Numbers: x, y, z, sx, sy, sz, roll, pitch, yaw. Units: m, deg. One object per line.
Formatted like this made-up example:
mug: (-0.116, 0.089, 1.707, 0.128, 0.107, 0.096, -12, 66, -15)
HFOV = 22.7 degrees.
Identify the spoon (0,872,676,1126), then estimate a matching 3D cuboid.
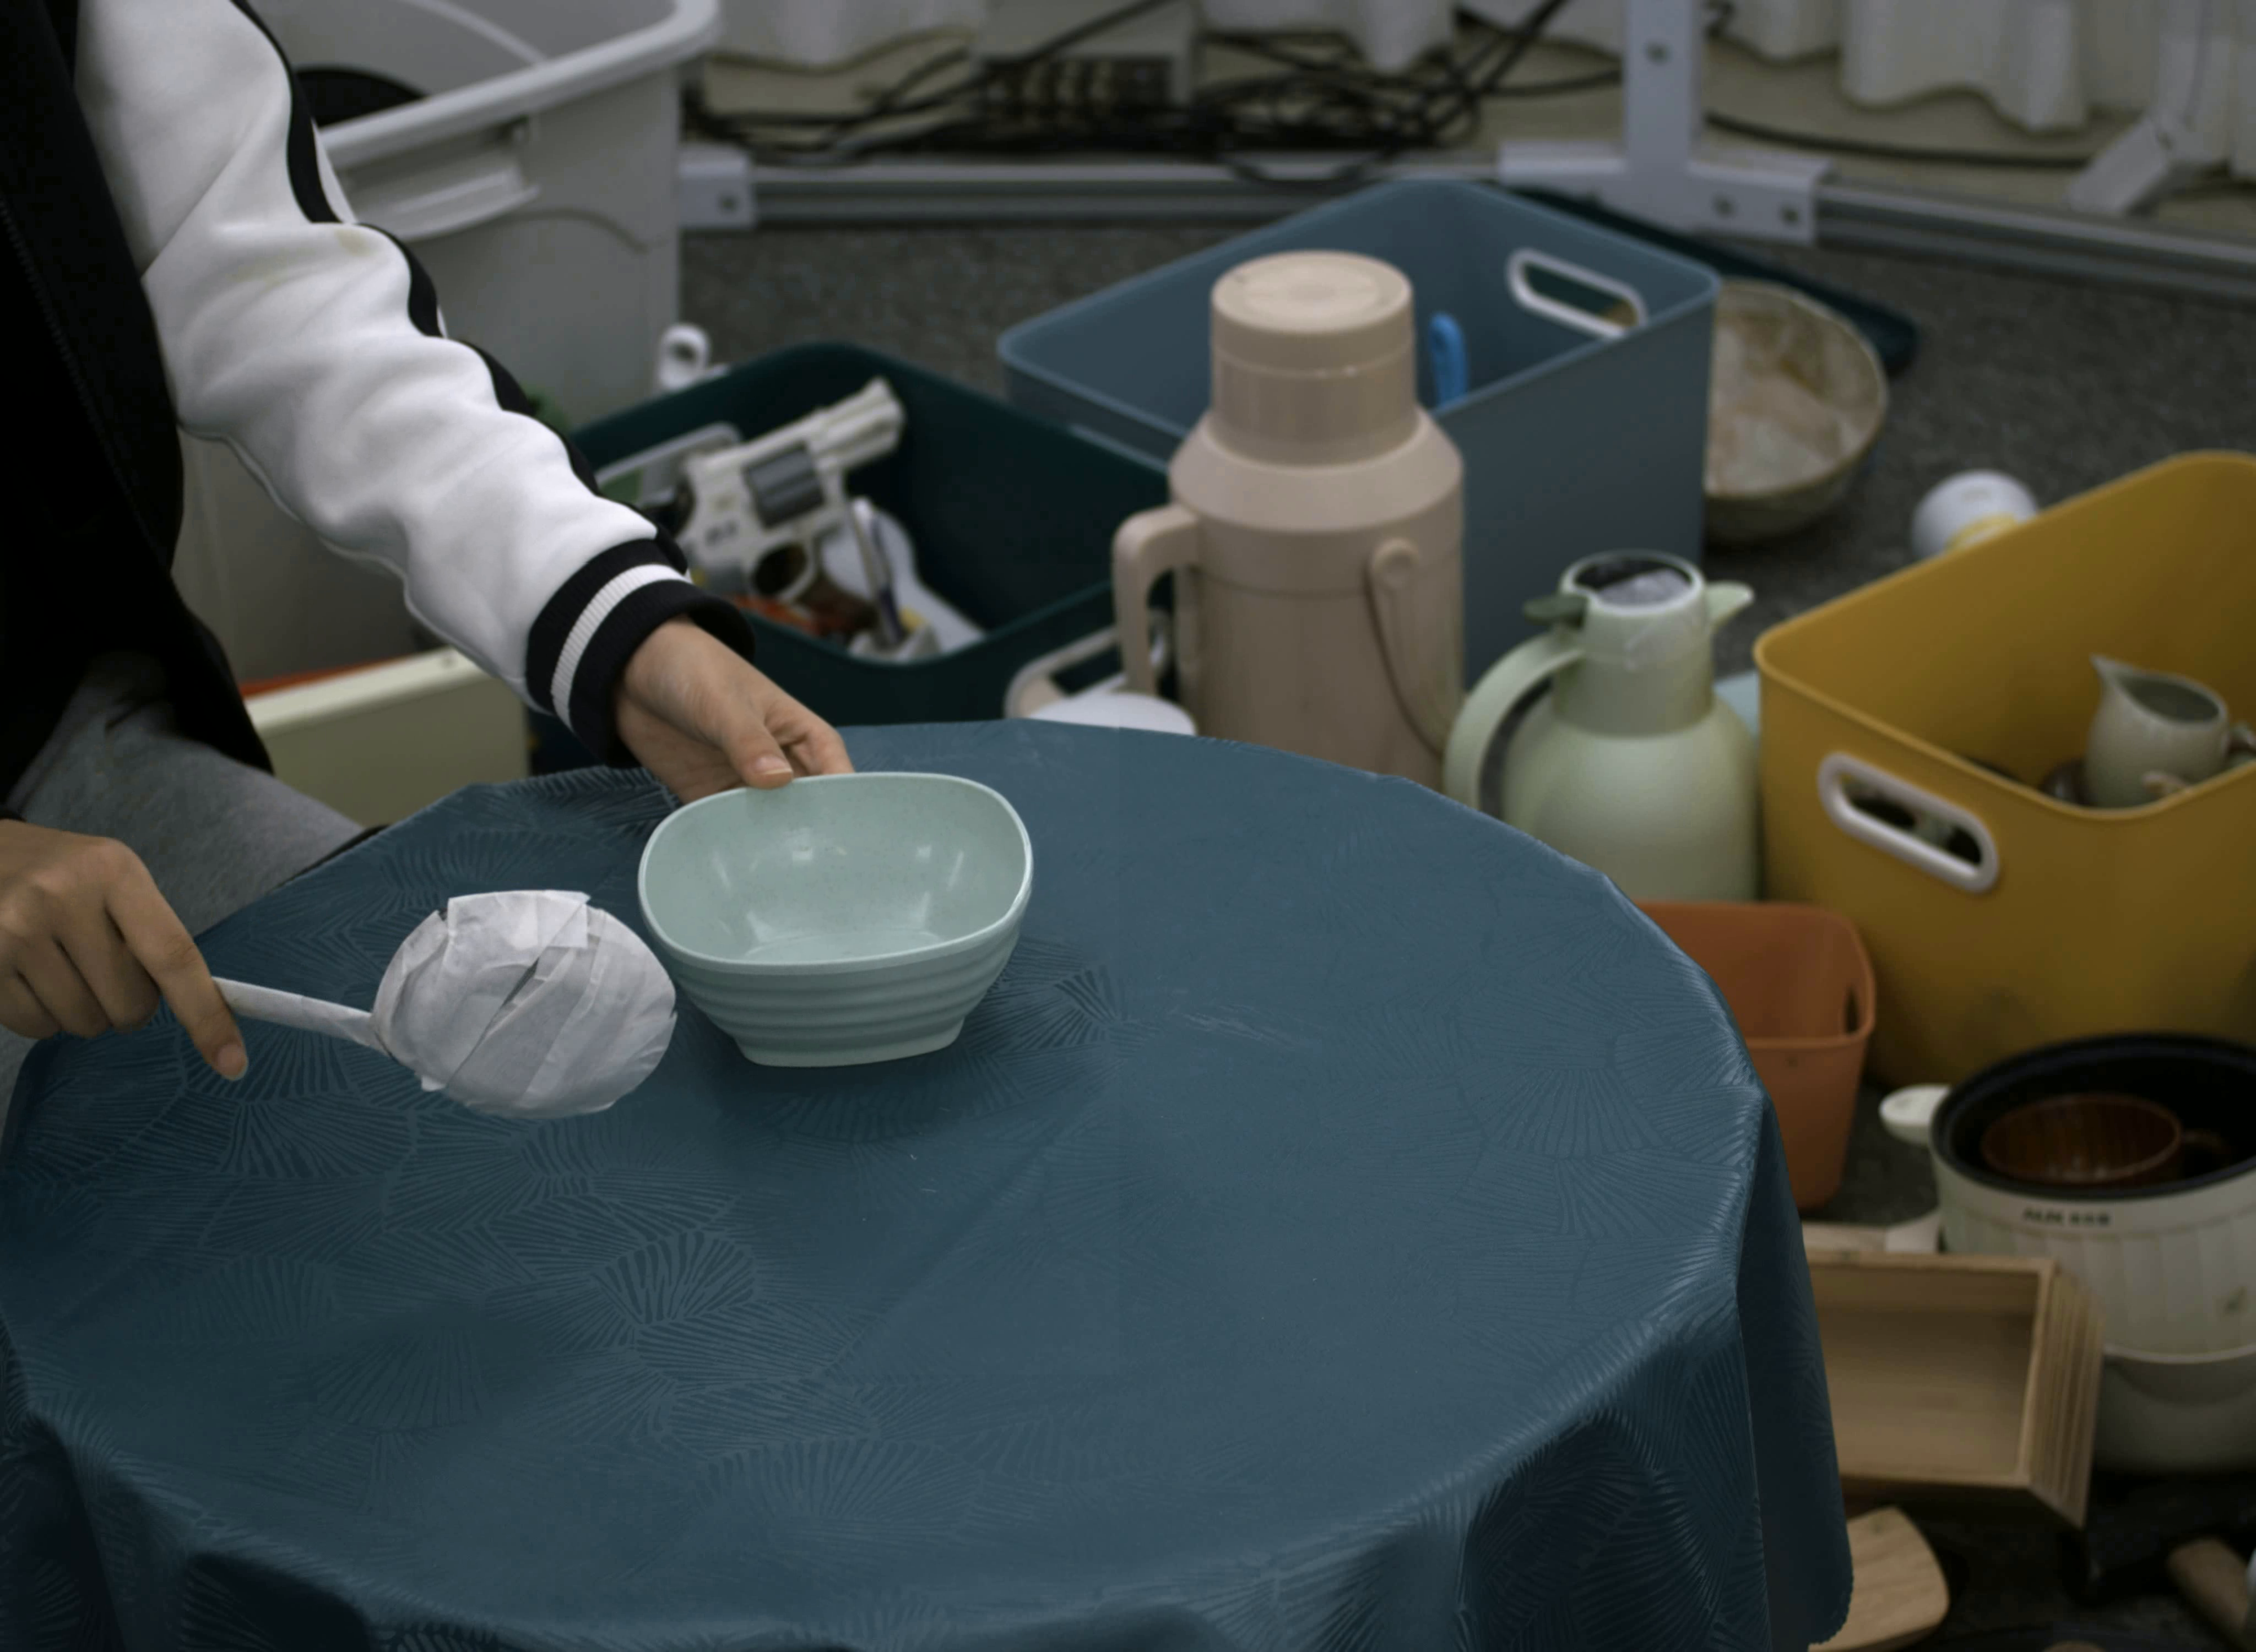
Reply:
spoon: (-0.269, 0.048, 1.858, 0.275, 0.100, 0.060, 7, 36, 37)

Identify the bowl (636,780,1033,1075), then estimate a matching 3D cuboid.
bowl: (-0.101, 0.041, 1.970, 0.151, 0.058, 0.154, -2, 27, 1)
